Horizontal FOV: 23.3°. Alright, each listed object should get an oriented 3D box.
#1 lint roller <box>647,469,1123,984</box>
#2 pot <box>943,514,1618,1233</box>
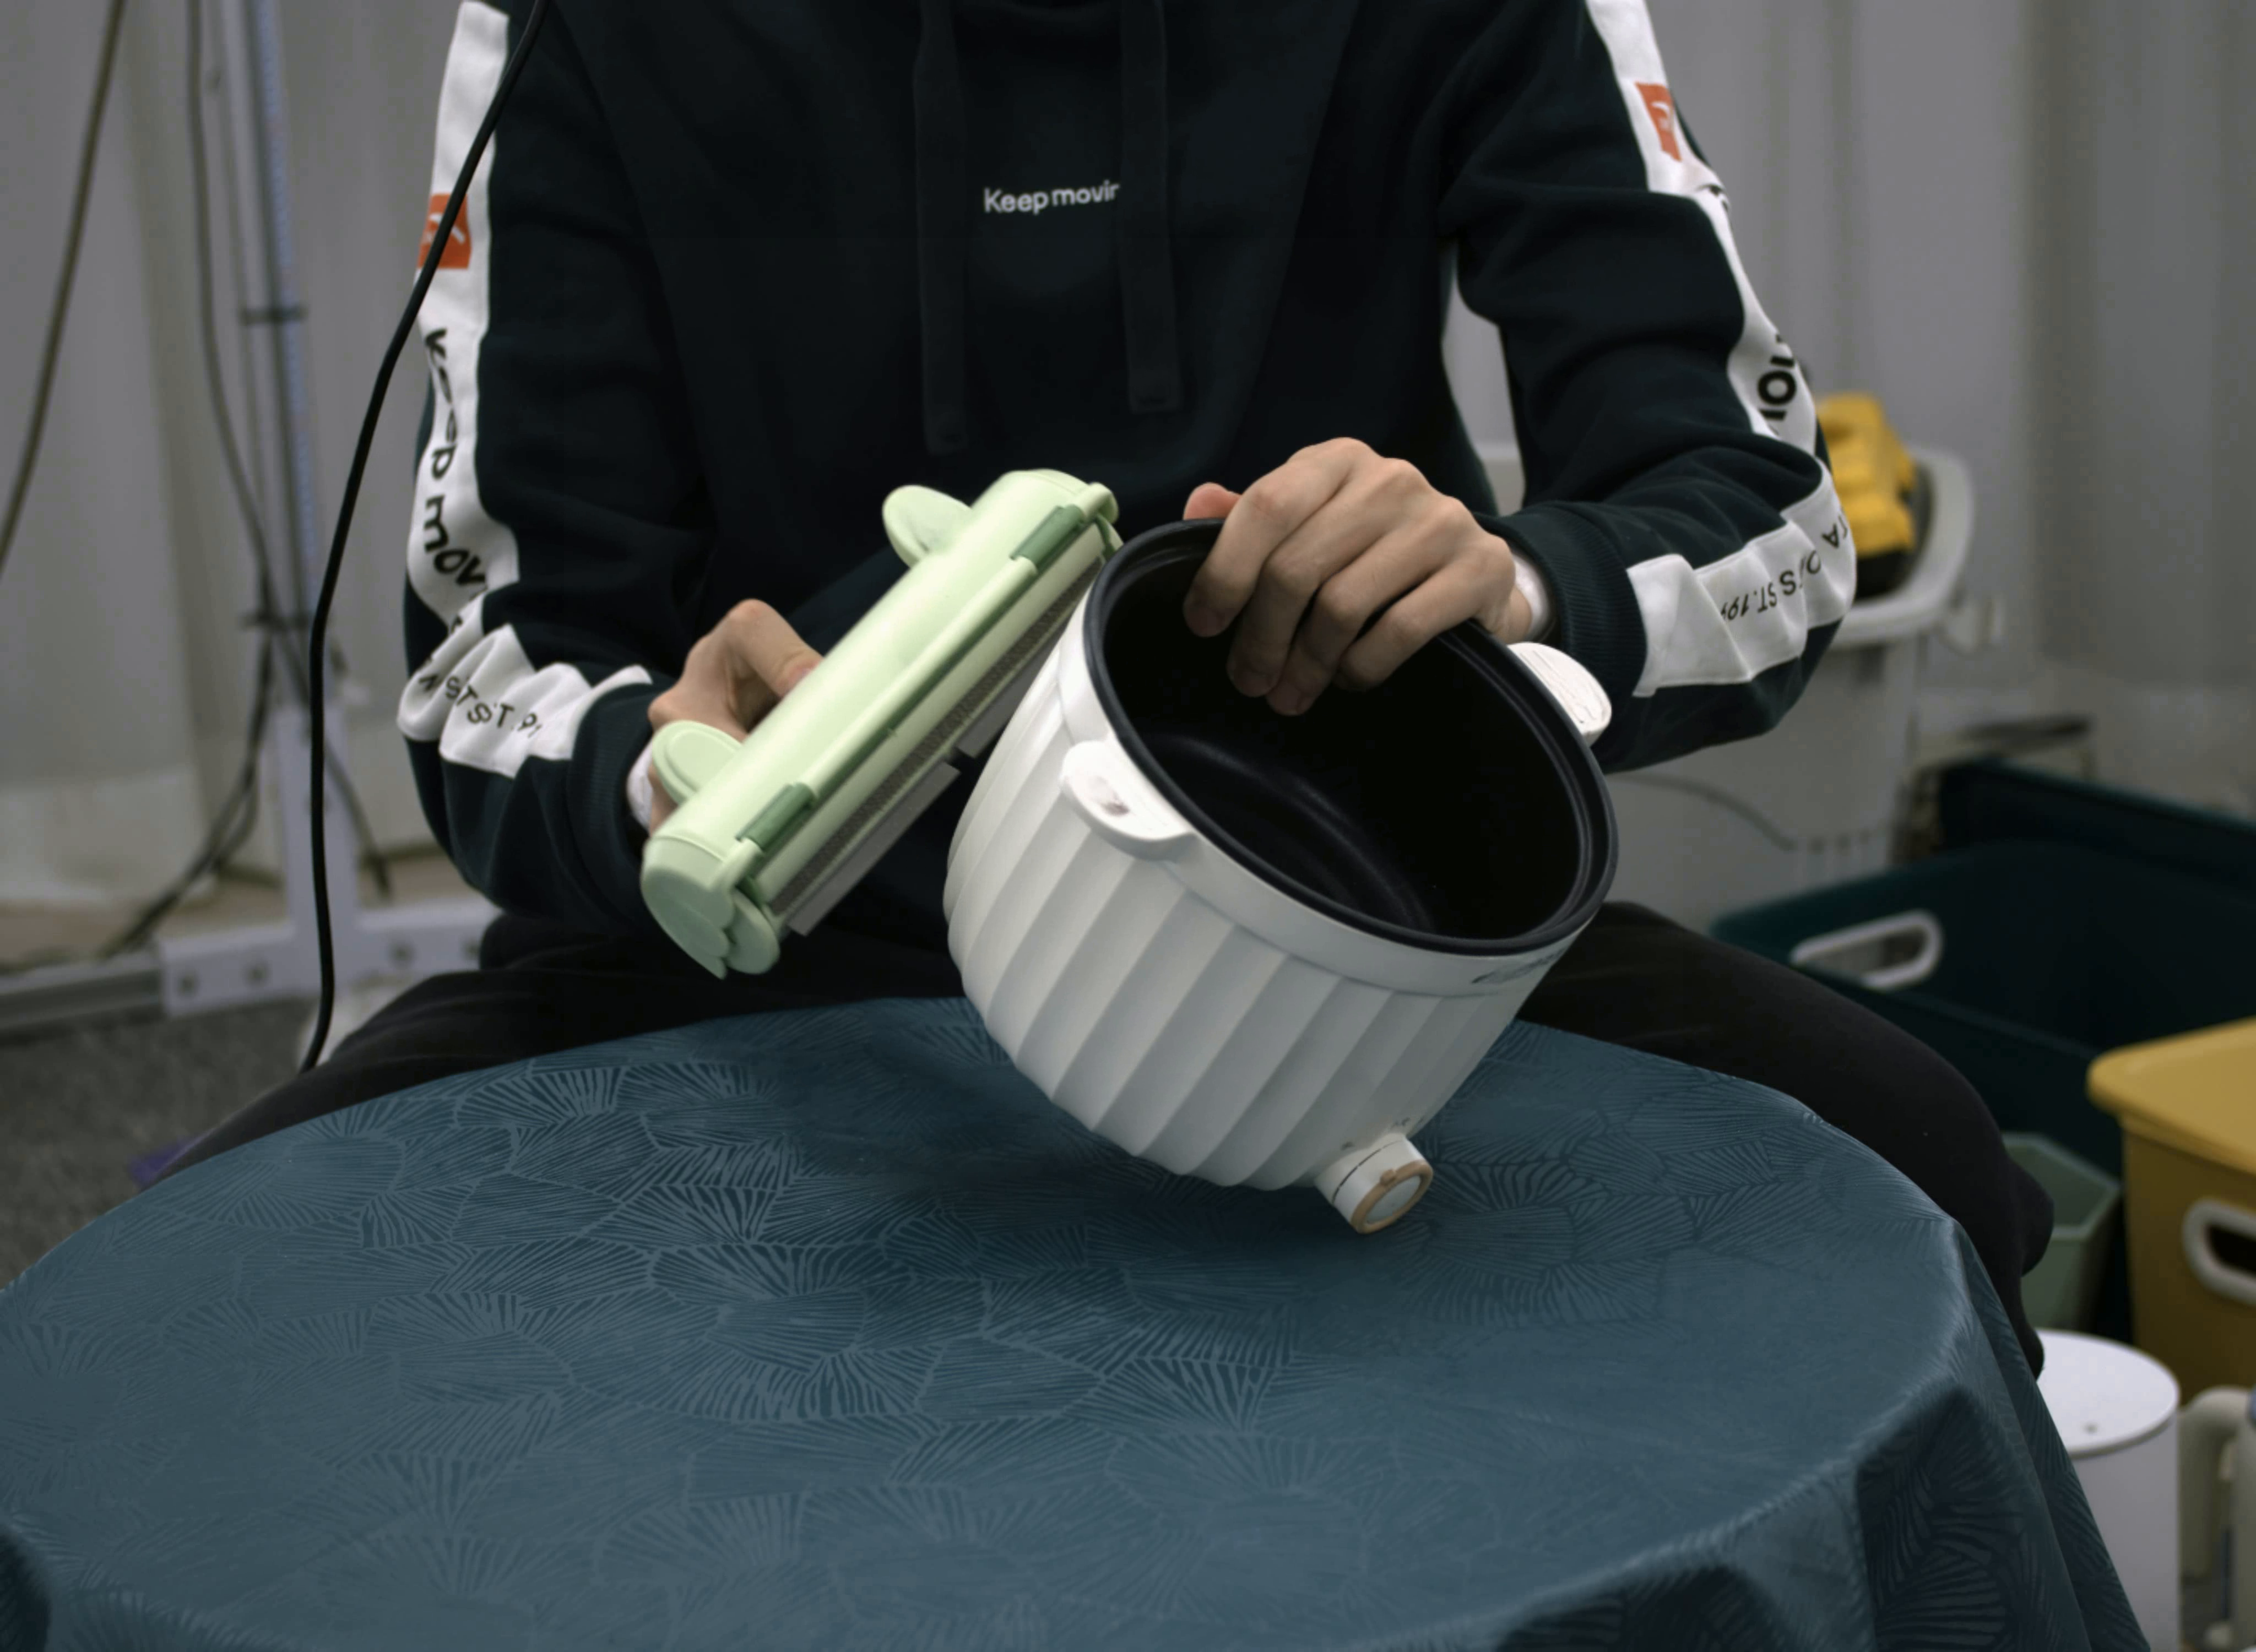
[{"bbox_3d":[-0.106,-0.032,1.769,0.200,0.081,0.183,-48,17,-27],"label":"lint roller"},{"bbox_3d":[0.043,0.019,1.675,0.240,0.141,0.192,-14,53,-46],"label":"pot"}]
